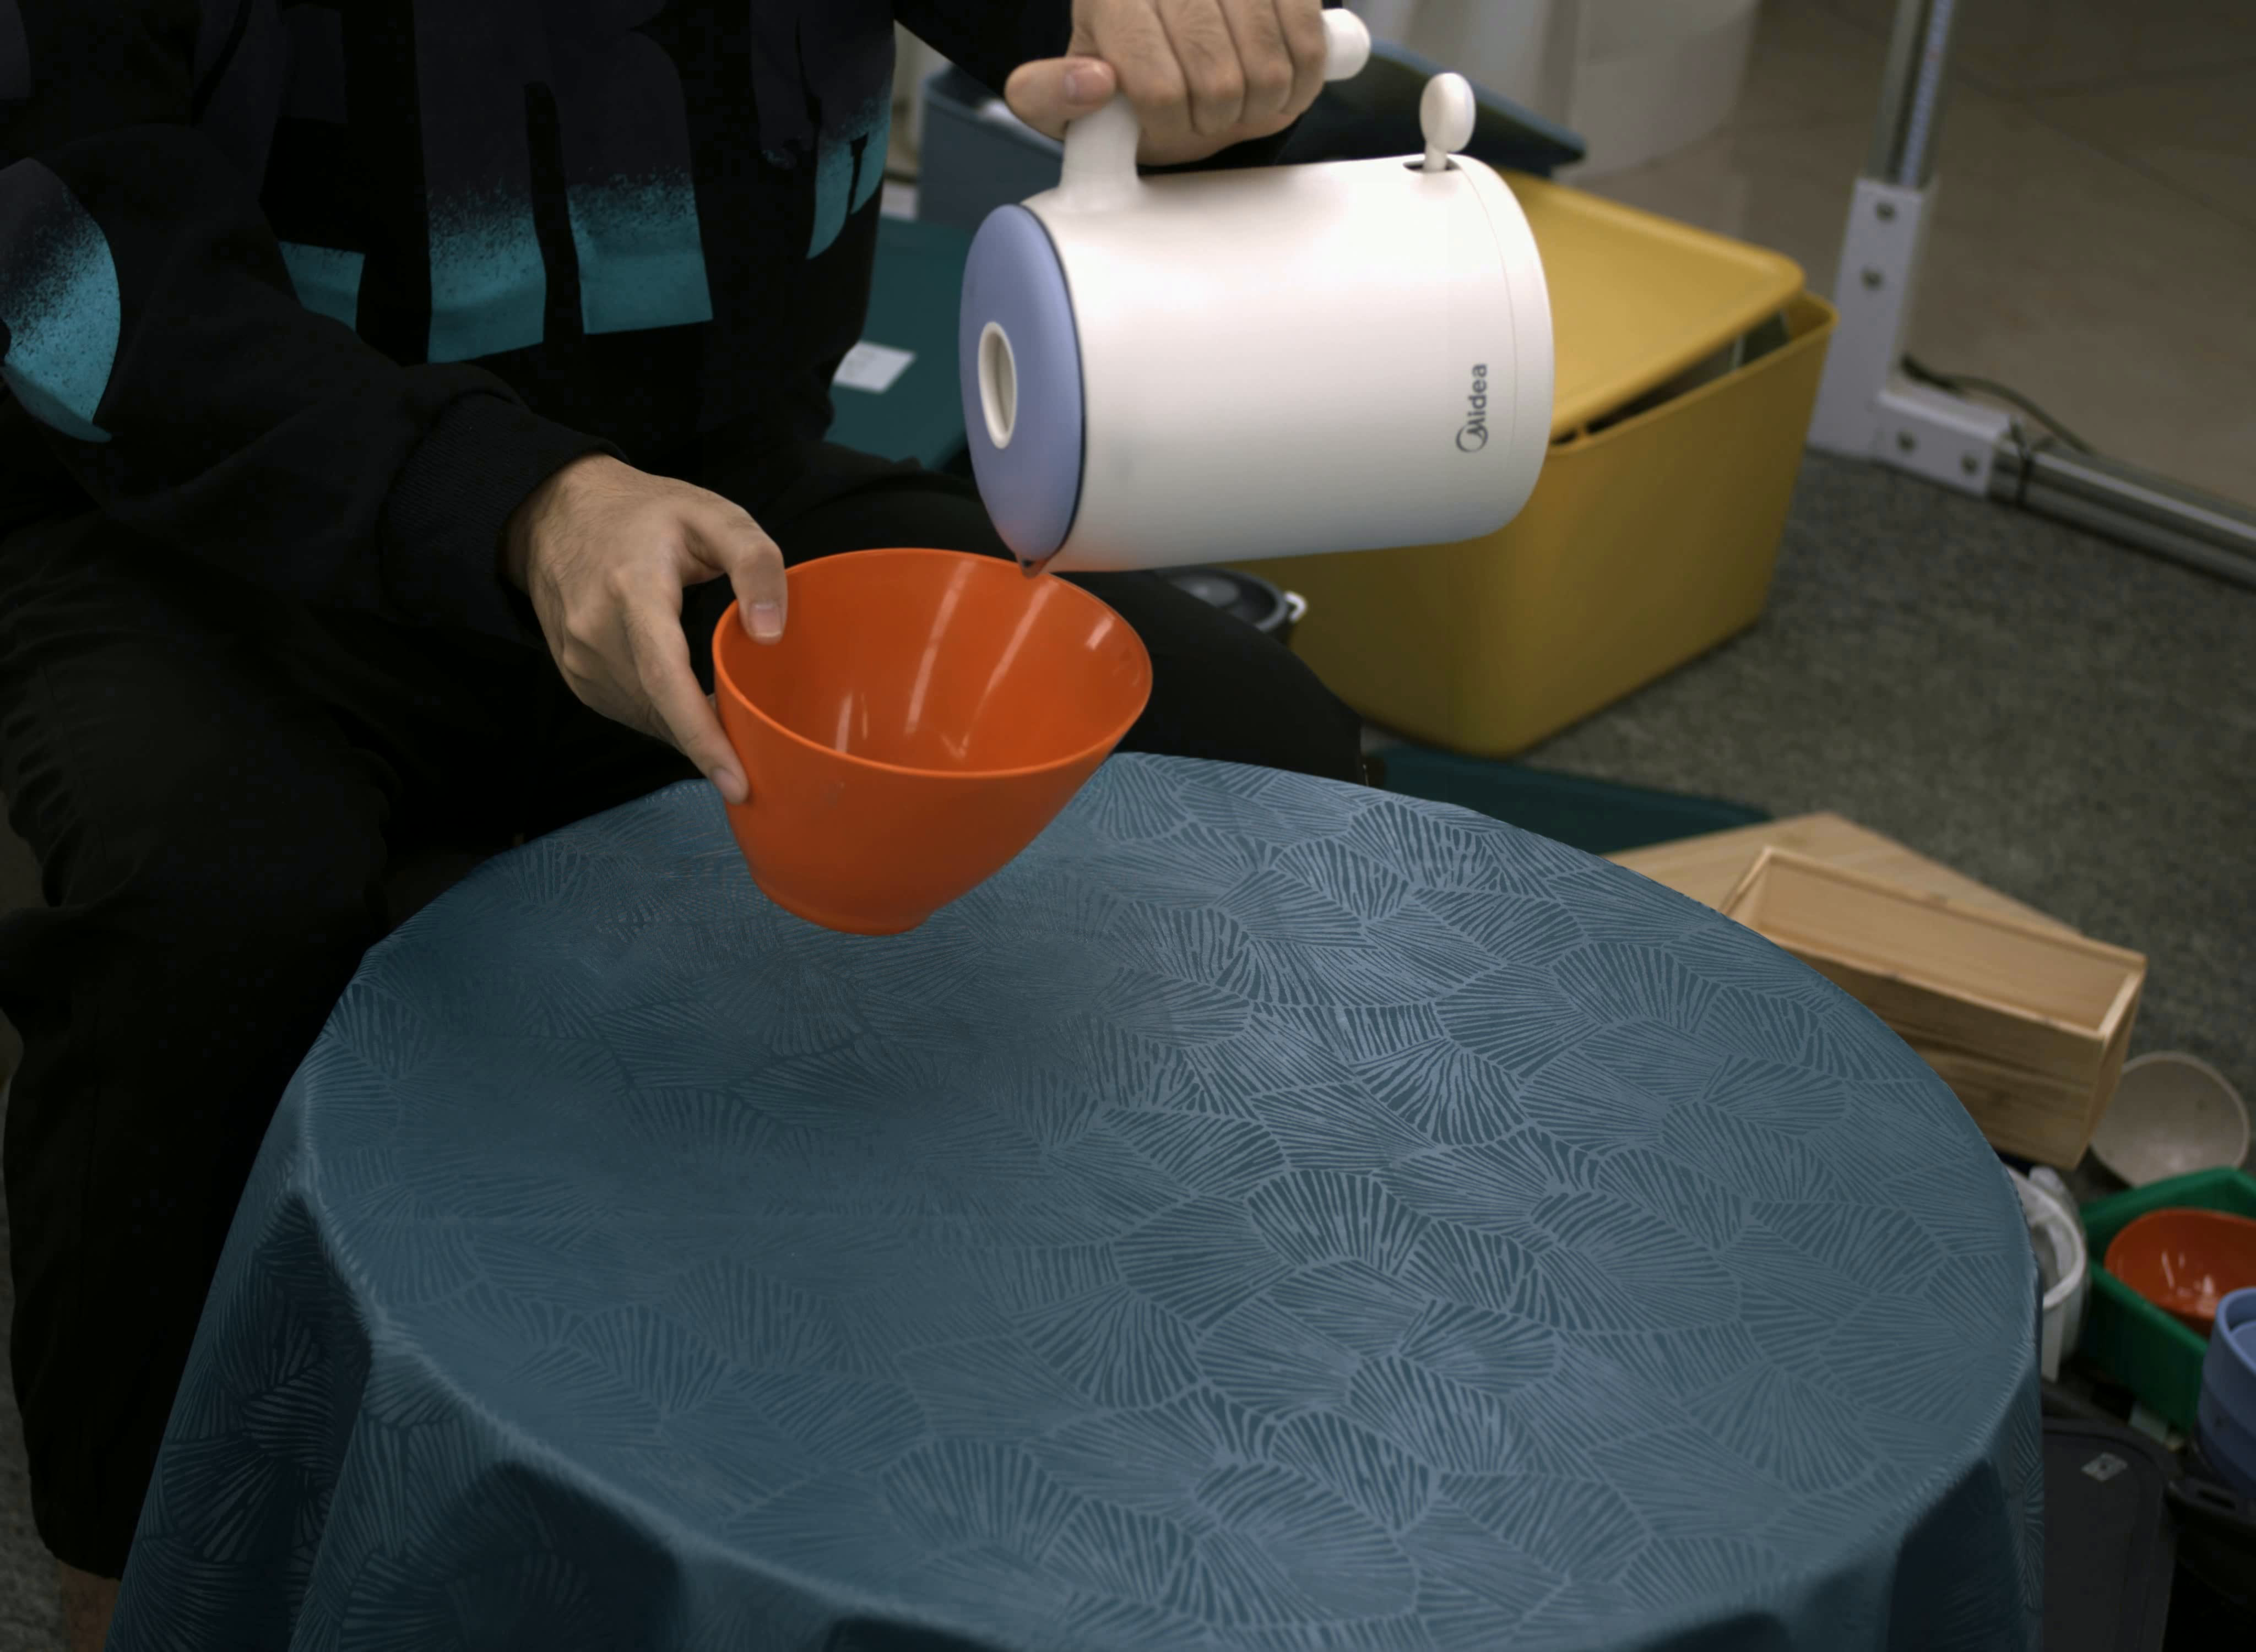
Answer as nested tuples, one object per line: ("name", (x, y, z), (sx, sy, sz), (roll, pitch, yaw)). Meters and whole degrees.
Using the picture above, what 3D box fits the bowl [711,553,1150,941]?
("bowl", (-0.076, -0.021, 1.813), (0.147, 0.104, 0.149), (13, 28, -7))

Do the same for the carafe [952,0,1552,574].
("carafe", (0.042, -0.179, 1.774), (0.181, 0.191, 0.133), (-4, 21, -19))
